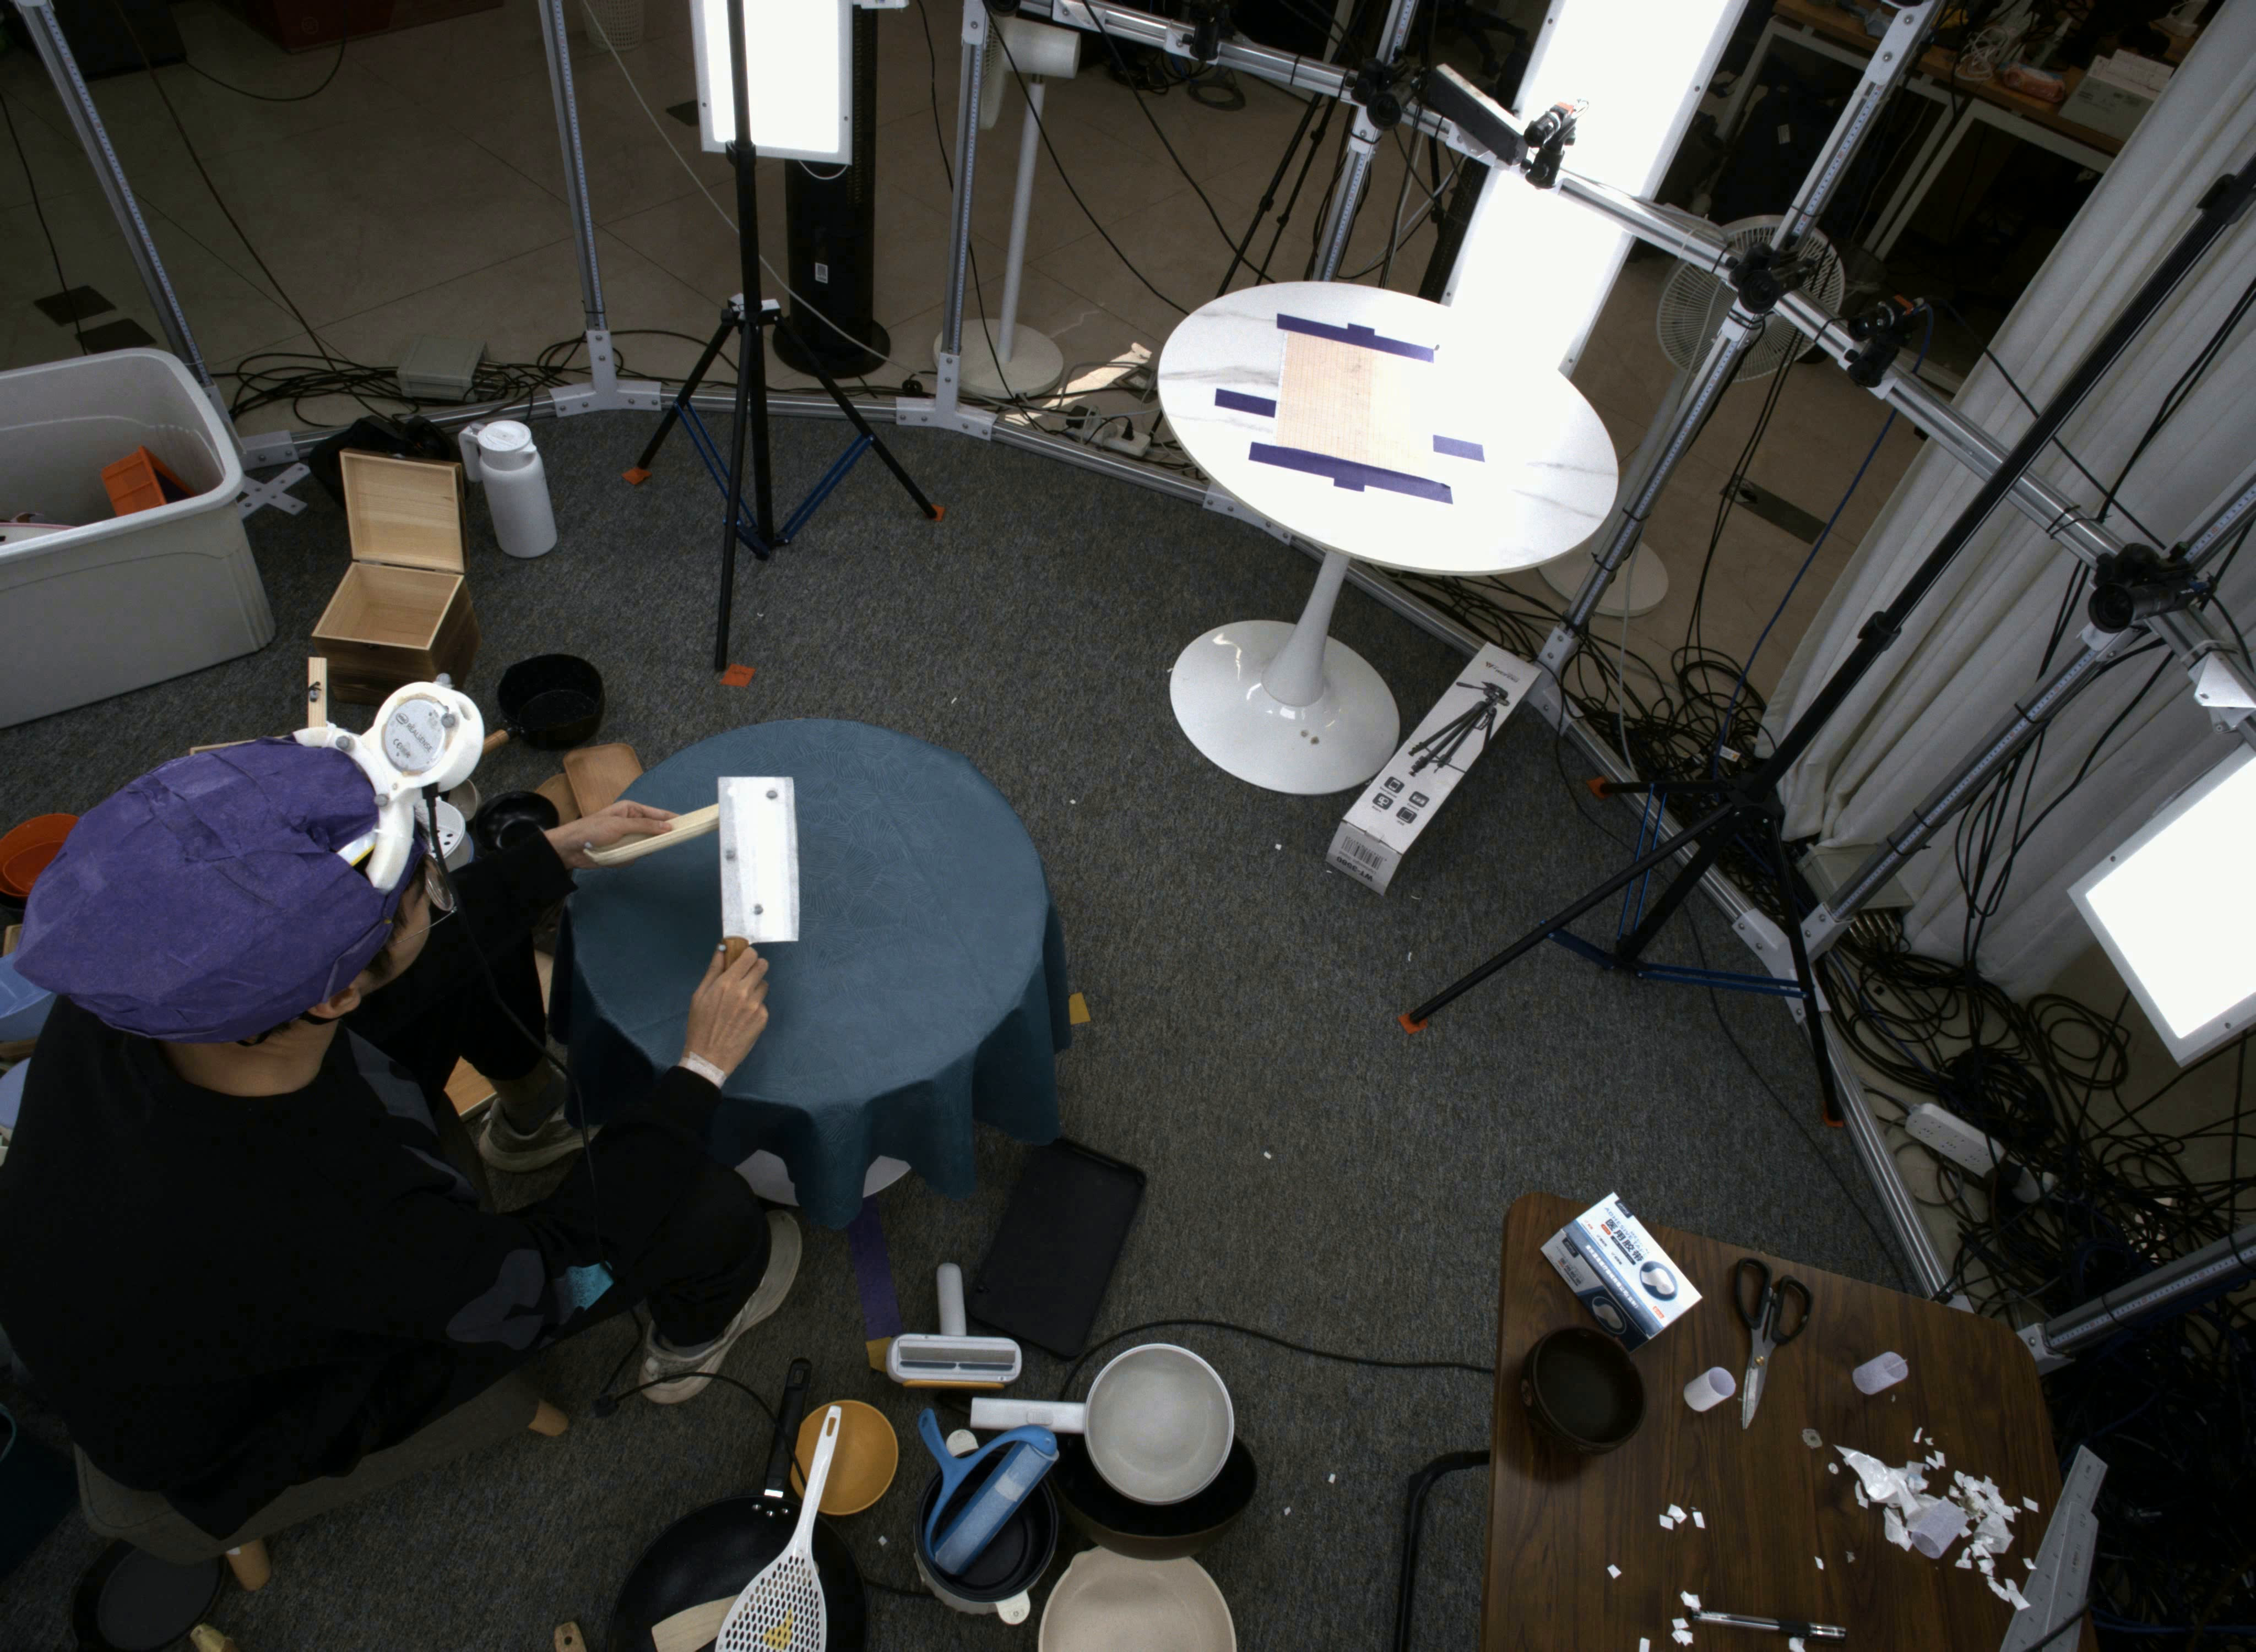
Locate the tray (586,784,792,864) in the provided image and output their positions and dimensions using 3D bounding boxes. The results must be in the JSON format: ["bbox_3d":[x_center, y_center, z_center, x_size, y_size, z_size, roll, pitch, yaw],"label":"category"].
[{"bbox_3d":[-0.515,-0.004,1.502,0.241,0.167,0.018,-21,101,-25],"label":"tray"}]

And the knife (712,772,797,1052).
[{"bbox_3d":[-0.416,0.093,1.453,0.094,0.020,0.309,-3,91,-39],"label":"knife"}]
